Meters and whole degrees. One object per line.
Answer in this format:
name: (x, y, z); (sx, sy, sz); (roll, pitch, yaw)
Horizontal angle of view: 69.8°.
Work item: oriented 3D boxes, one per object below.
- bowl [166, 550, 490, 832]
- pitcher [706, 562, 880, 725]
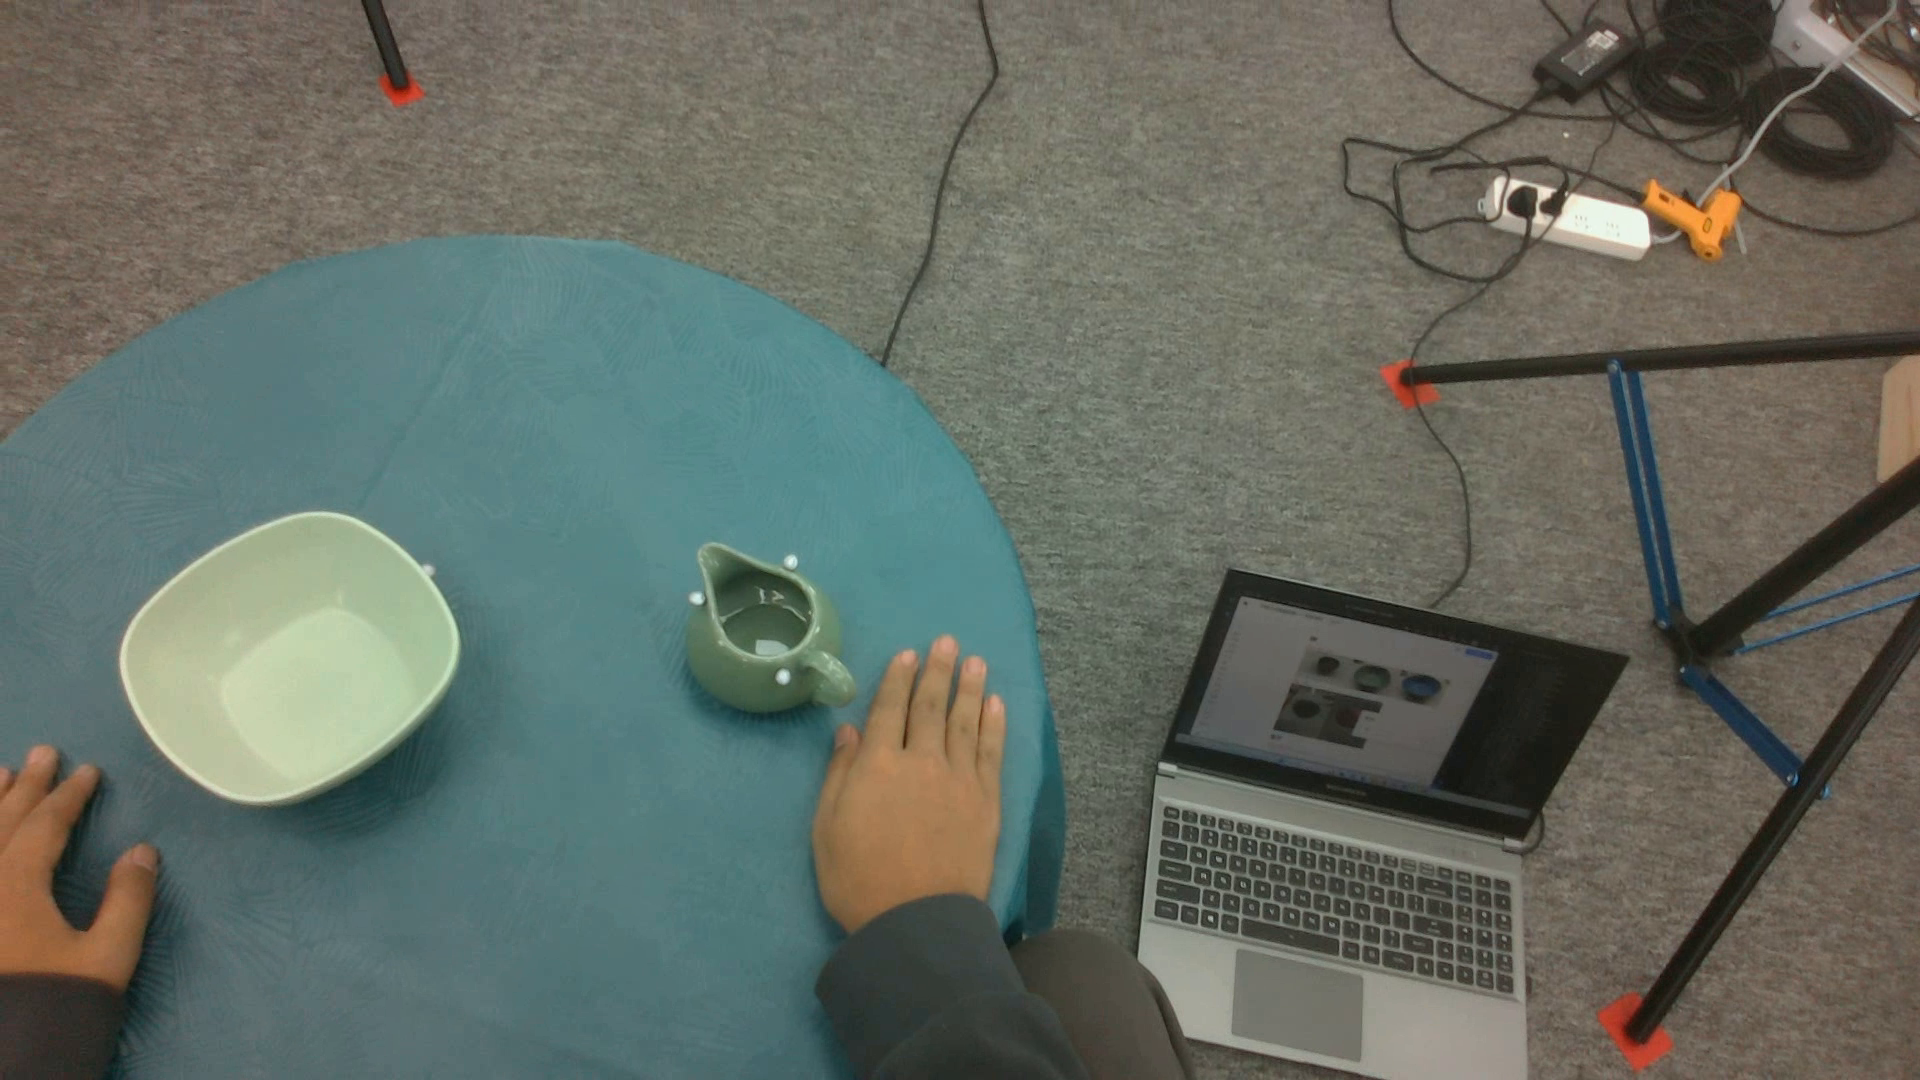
bowl: (-0.312, 0.083, 0.700); (0.151, 0.058, 0.152); (3, 58, -5)
pitcher: (-0.090, 0.060, 0.743); (0.112, 0.056, 0.084); (37, 62, 14)
